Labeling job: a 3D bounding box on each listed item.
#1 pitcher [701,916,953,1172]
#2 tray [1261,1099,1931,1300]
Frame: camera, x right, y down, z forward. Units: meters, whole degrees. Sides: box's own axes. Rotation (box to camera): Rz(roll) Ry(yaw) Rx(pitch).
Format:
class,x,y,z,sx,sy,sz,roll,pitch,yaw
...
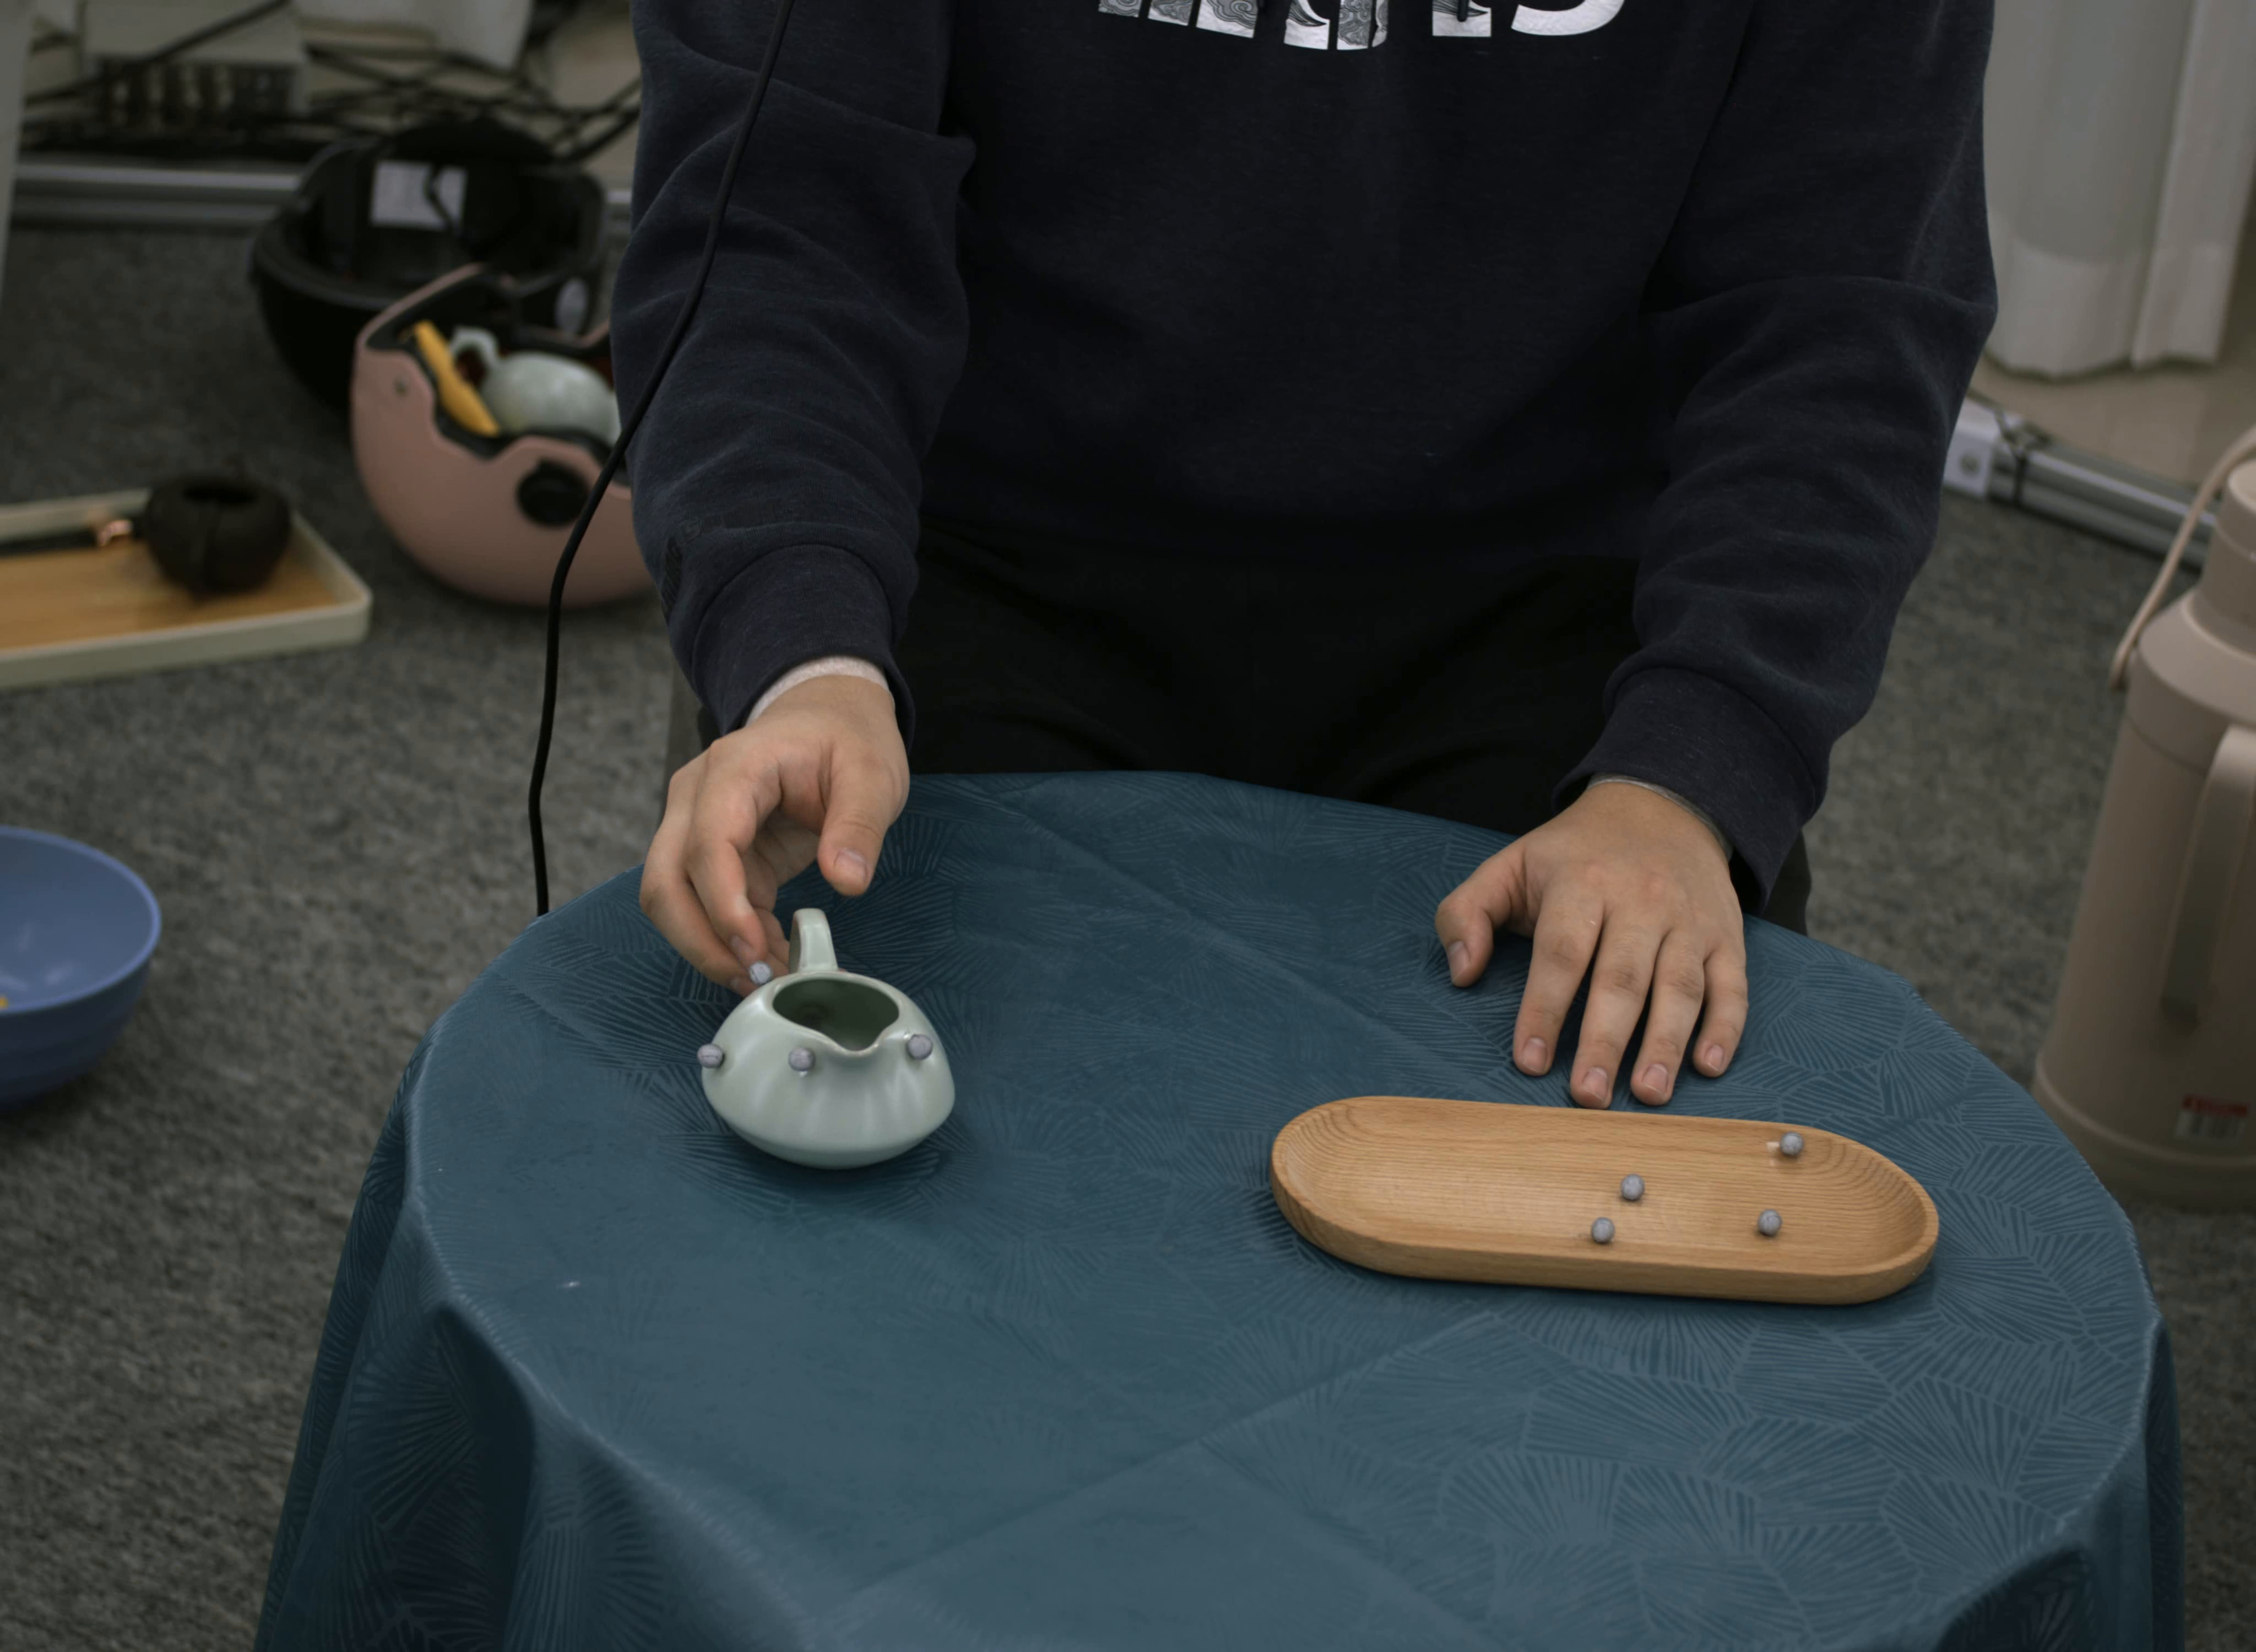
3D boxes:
class,x,y,z,sx,sy,sz,roll,pitch,yaw
pitcher,-0.104,0.076,1.815,0.085,0.060,0.109,0,25,-15
tray,0.160,0.128,1.818,0.230,0.020,0.102,2,26,-5
